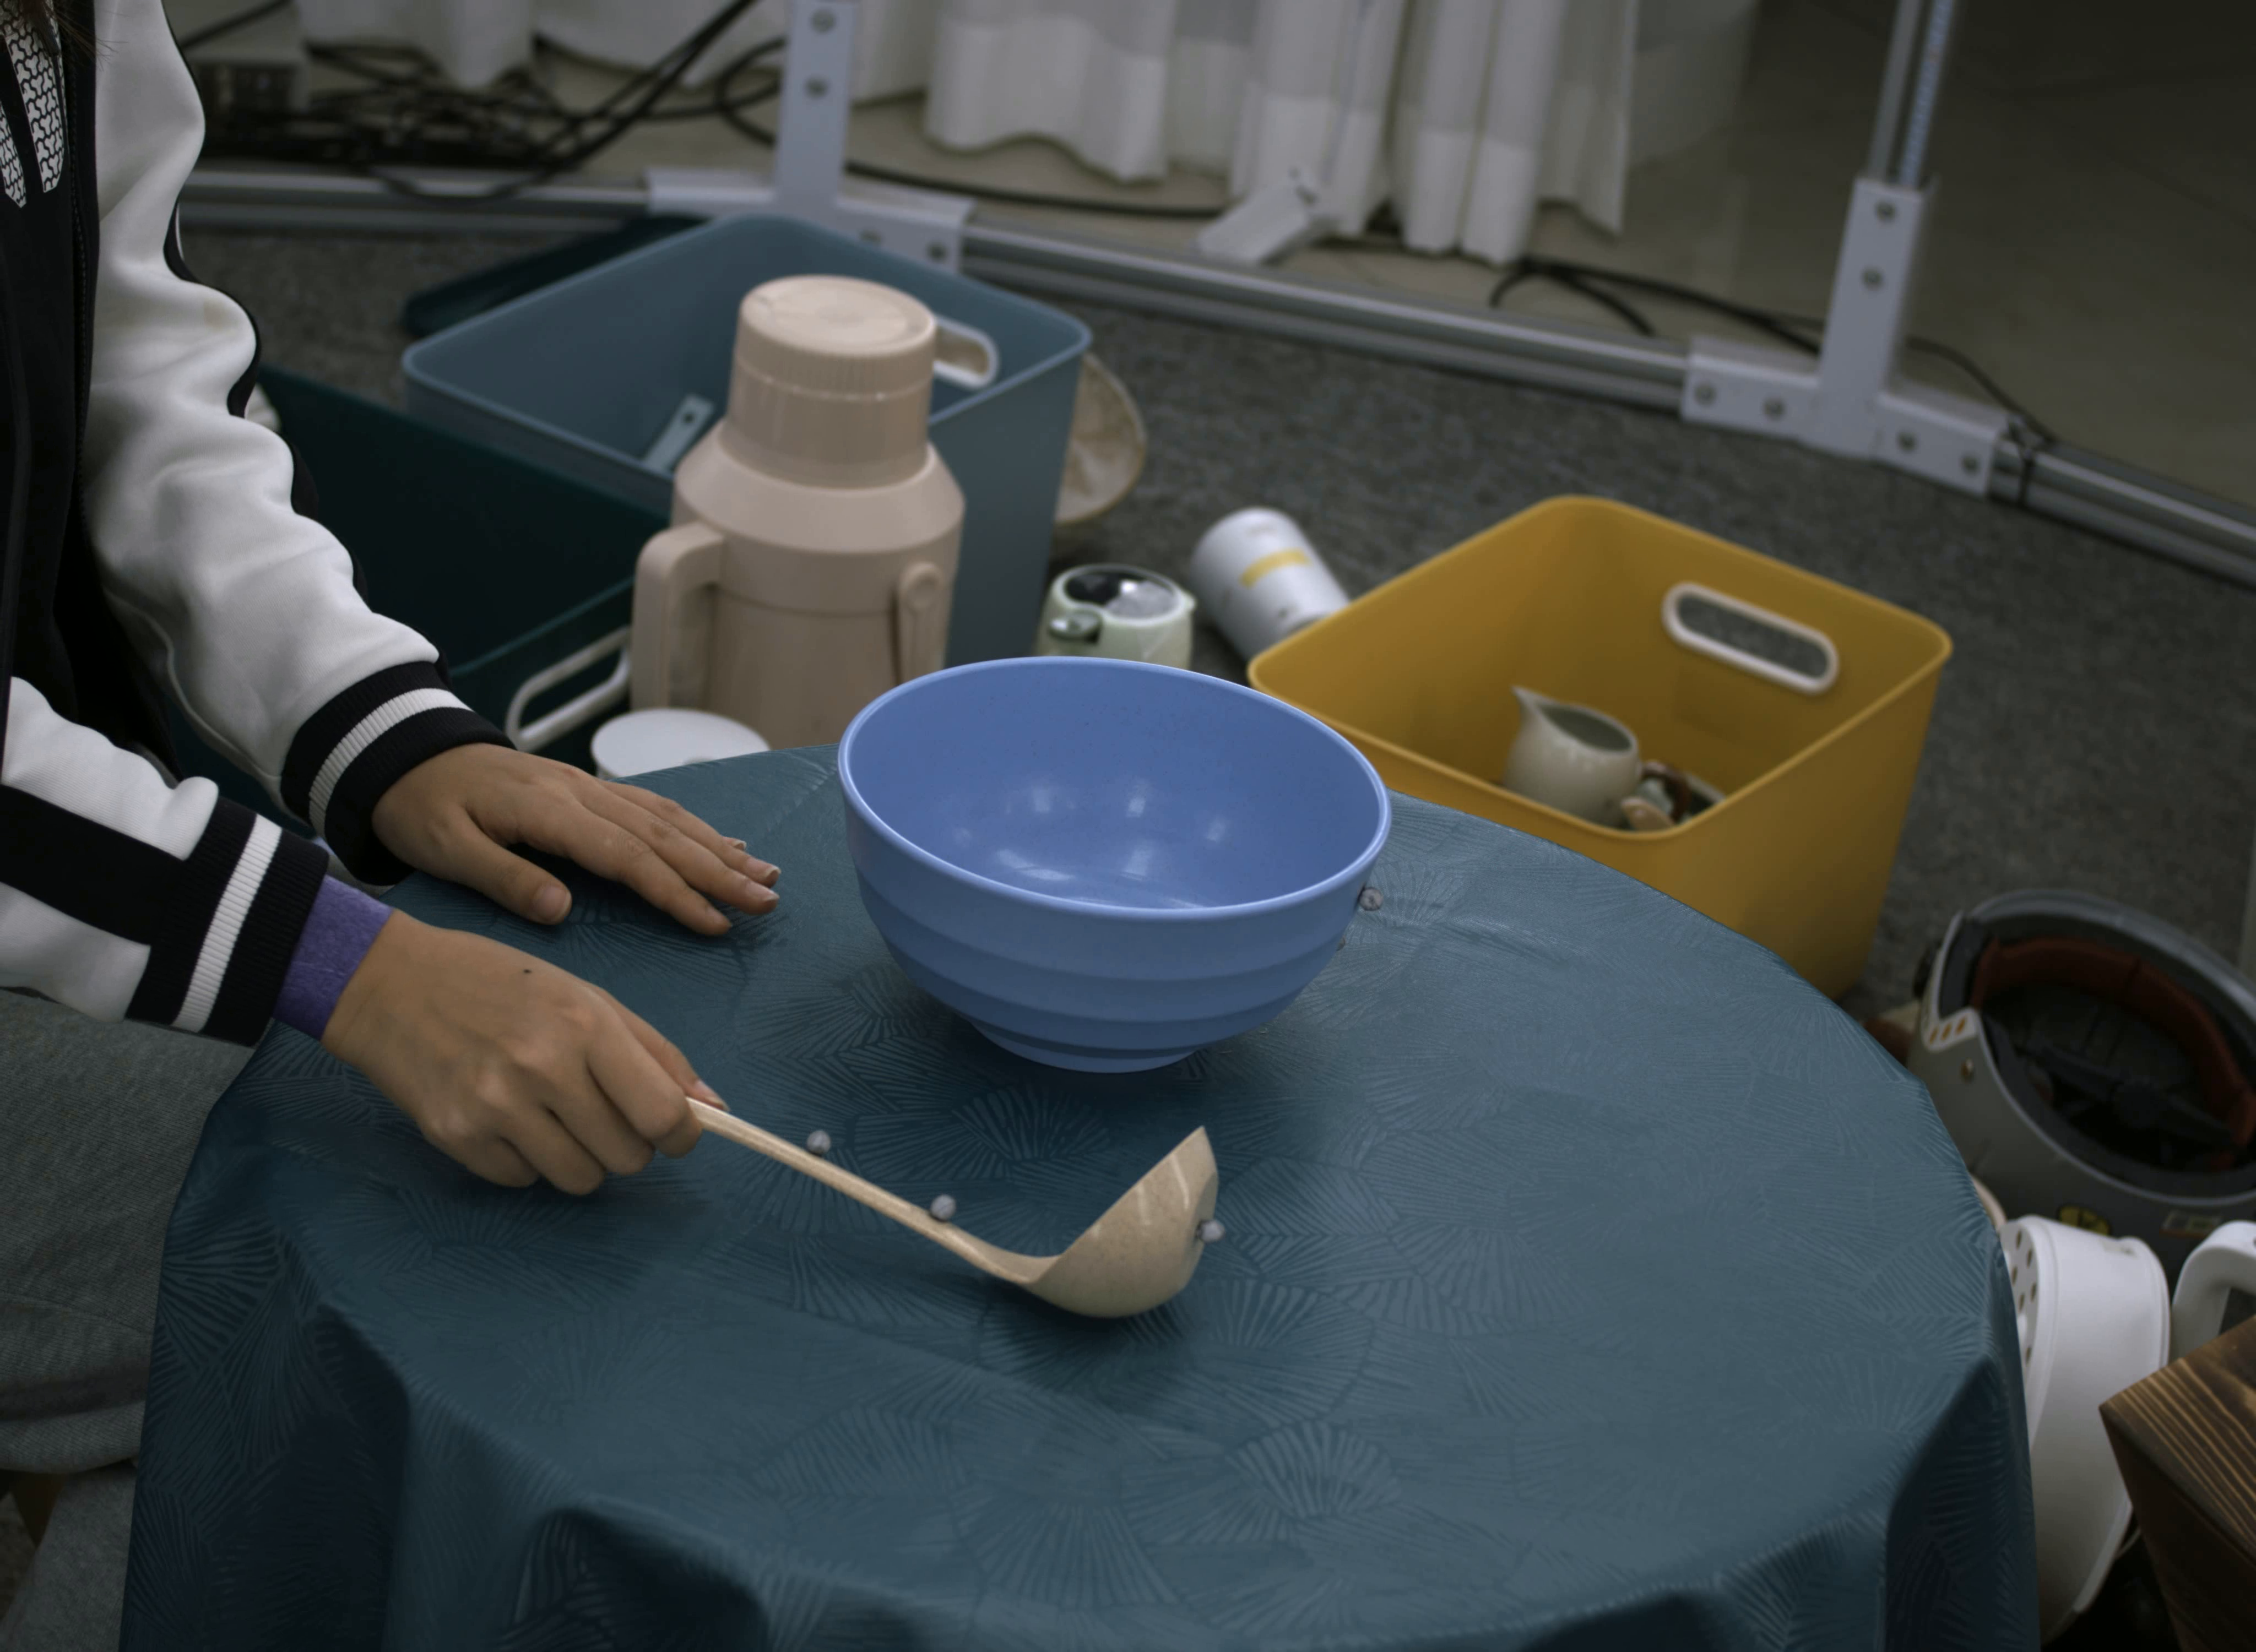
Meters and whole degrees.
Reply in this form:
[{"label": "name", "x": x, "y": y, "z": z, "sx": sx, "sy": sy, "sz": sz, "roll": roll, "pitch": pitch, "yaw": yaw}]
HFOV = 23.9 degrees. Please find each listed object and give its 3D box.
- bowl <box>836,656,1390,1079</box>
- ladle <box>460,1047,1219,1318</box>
[{"label": "bowl", "x": -0.009, "y": 0.026, "z": 1.892, "sx": 0.196, "sy": 0.095, "sz": 0.198, "roll": 5, "pitch": 28, "yaw": -3}, {"label": "ladle", "x": -0.093, "y": 0.089, "z": 1.737, "sx": 0.254, "sy": 0.073, "sz": 0.072, "roll": 21, "pitch": 12, "yaw": 9}]
